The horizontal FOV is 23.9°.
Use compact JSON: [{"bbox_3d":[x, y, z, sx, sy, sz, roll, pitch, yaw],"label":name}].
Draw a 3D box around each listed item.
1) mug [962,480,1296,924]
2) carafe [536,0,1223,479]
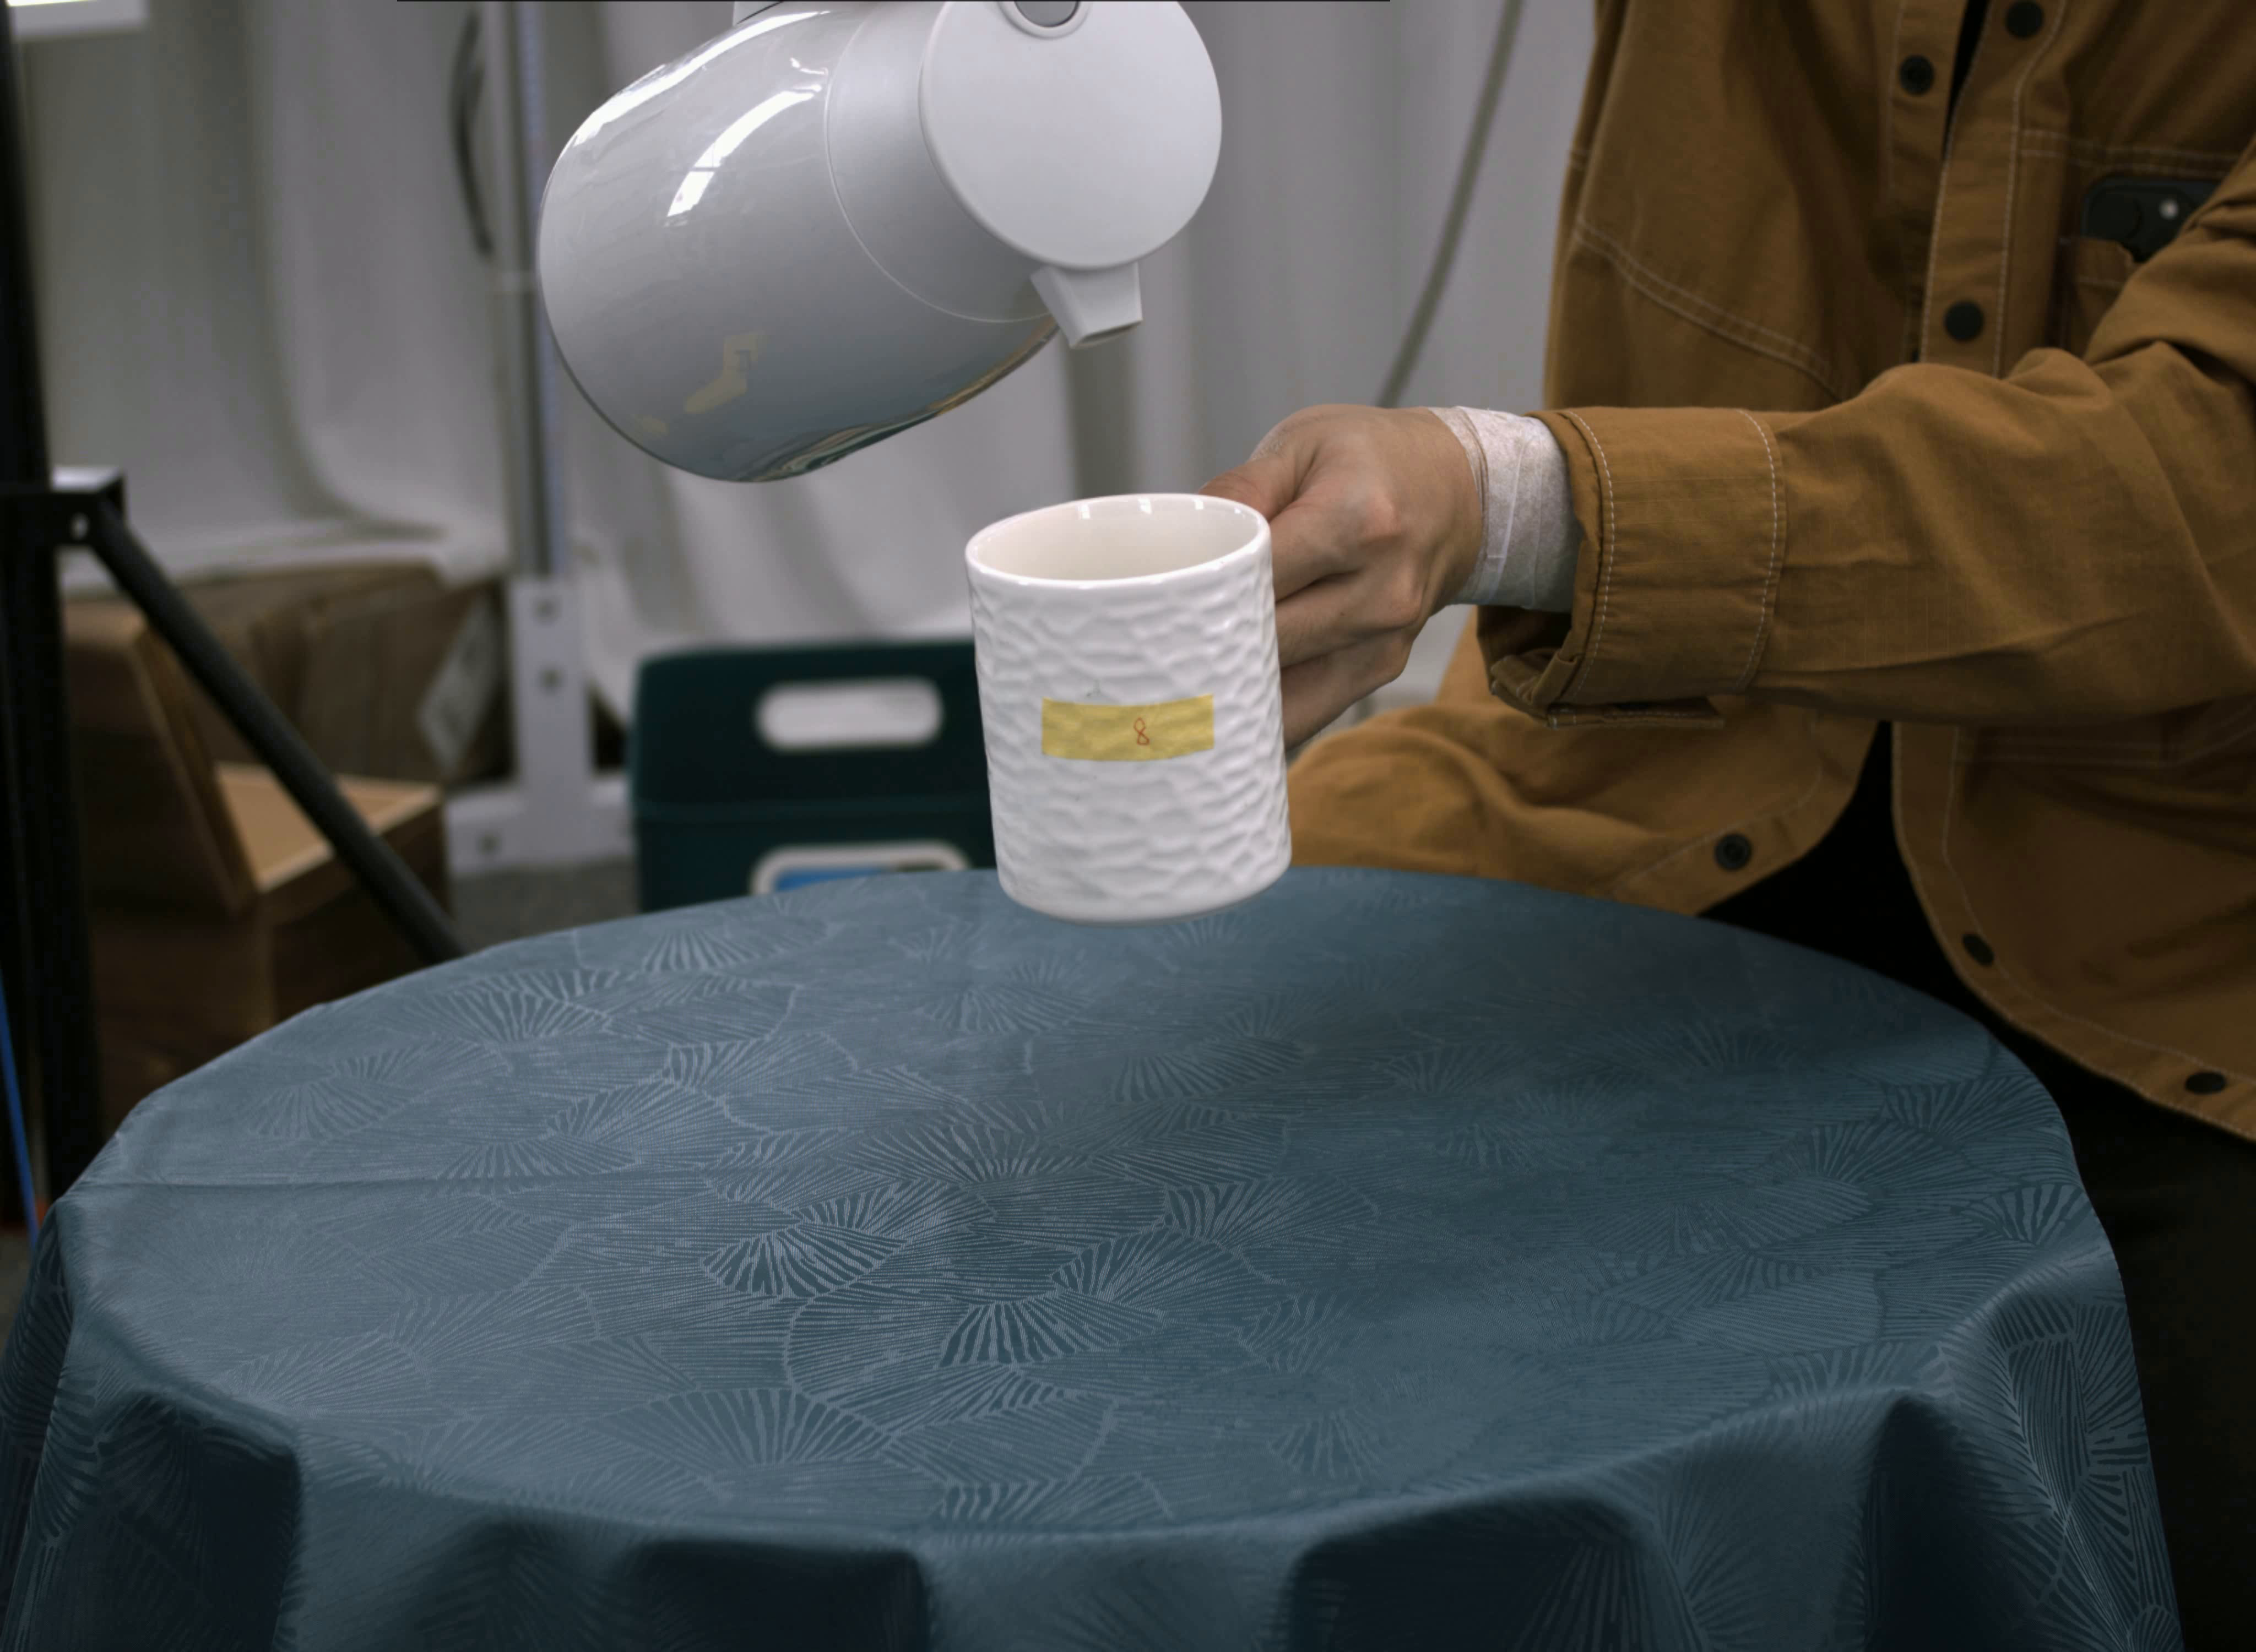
[{"bbox_3d":[0.007,-0.040,1.485,0.086,0.102,0.117,2,21,24],"label":"mug"},{"bbox_3d":[-0.074,-0.203,1.549,0.130,0.168,0.252,-18,1,-27],"label":"carafe"}]
